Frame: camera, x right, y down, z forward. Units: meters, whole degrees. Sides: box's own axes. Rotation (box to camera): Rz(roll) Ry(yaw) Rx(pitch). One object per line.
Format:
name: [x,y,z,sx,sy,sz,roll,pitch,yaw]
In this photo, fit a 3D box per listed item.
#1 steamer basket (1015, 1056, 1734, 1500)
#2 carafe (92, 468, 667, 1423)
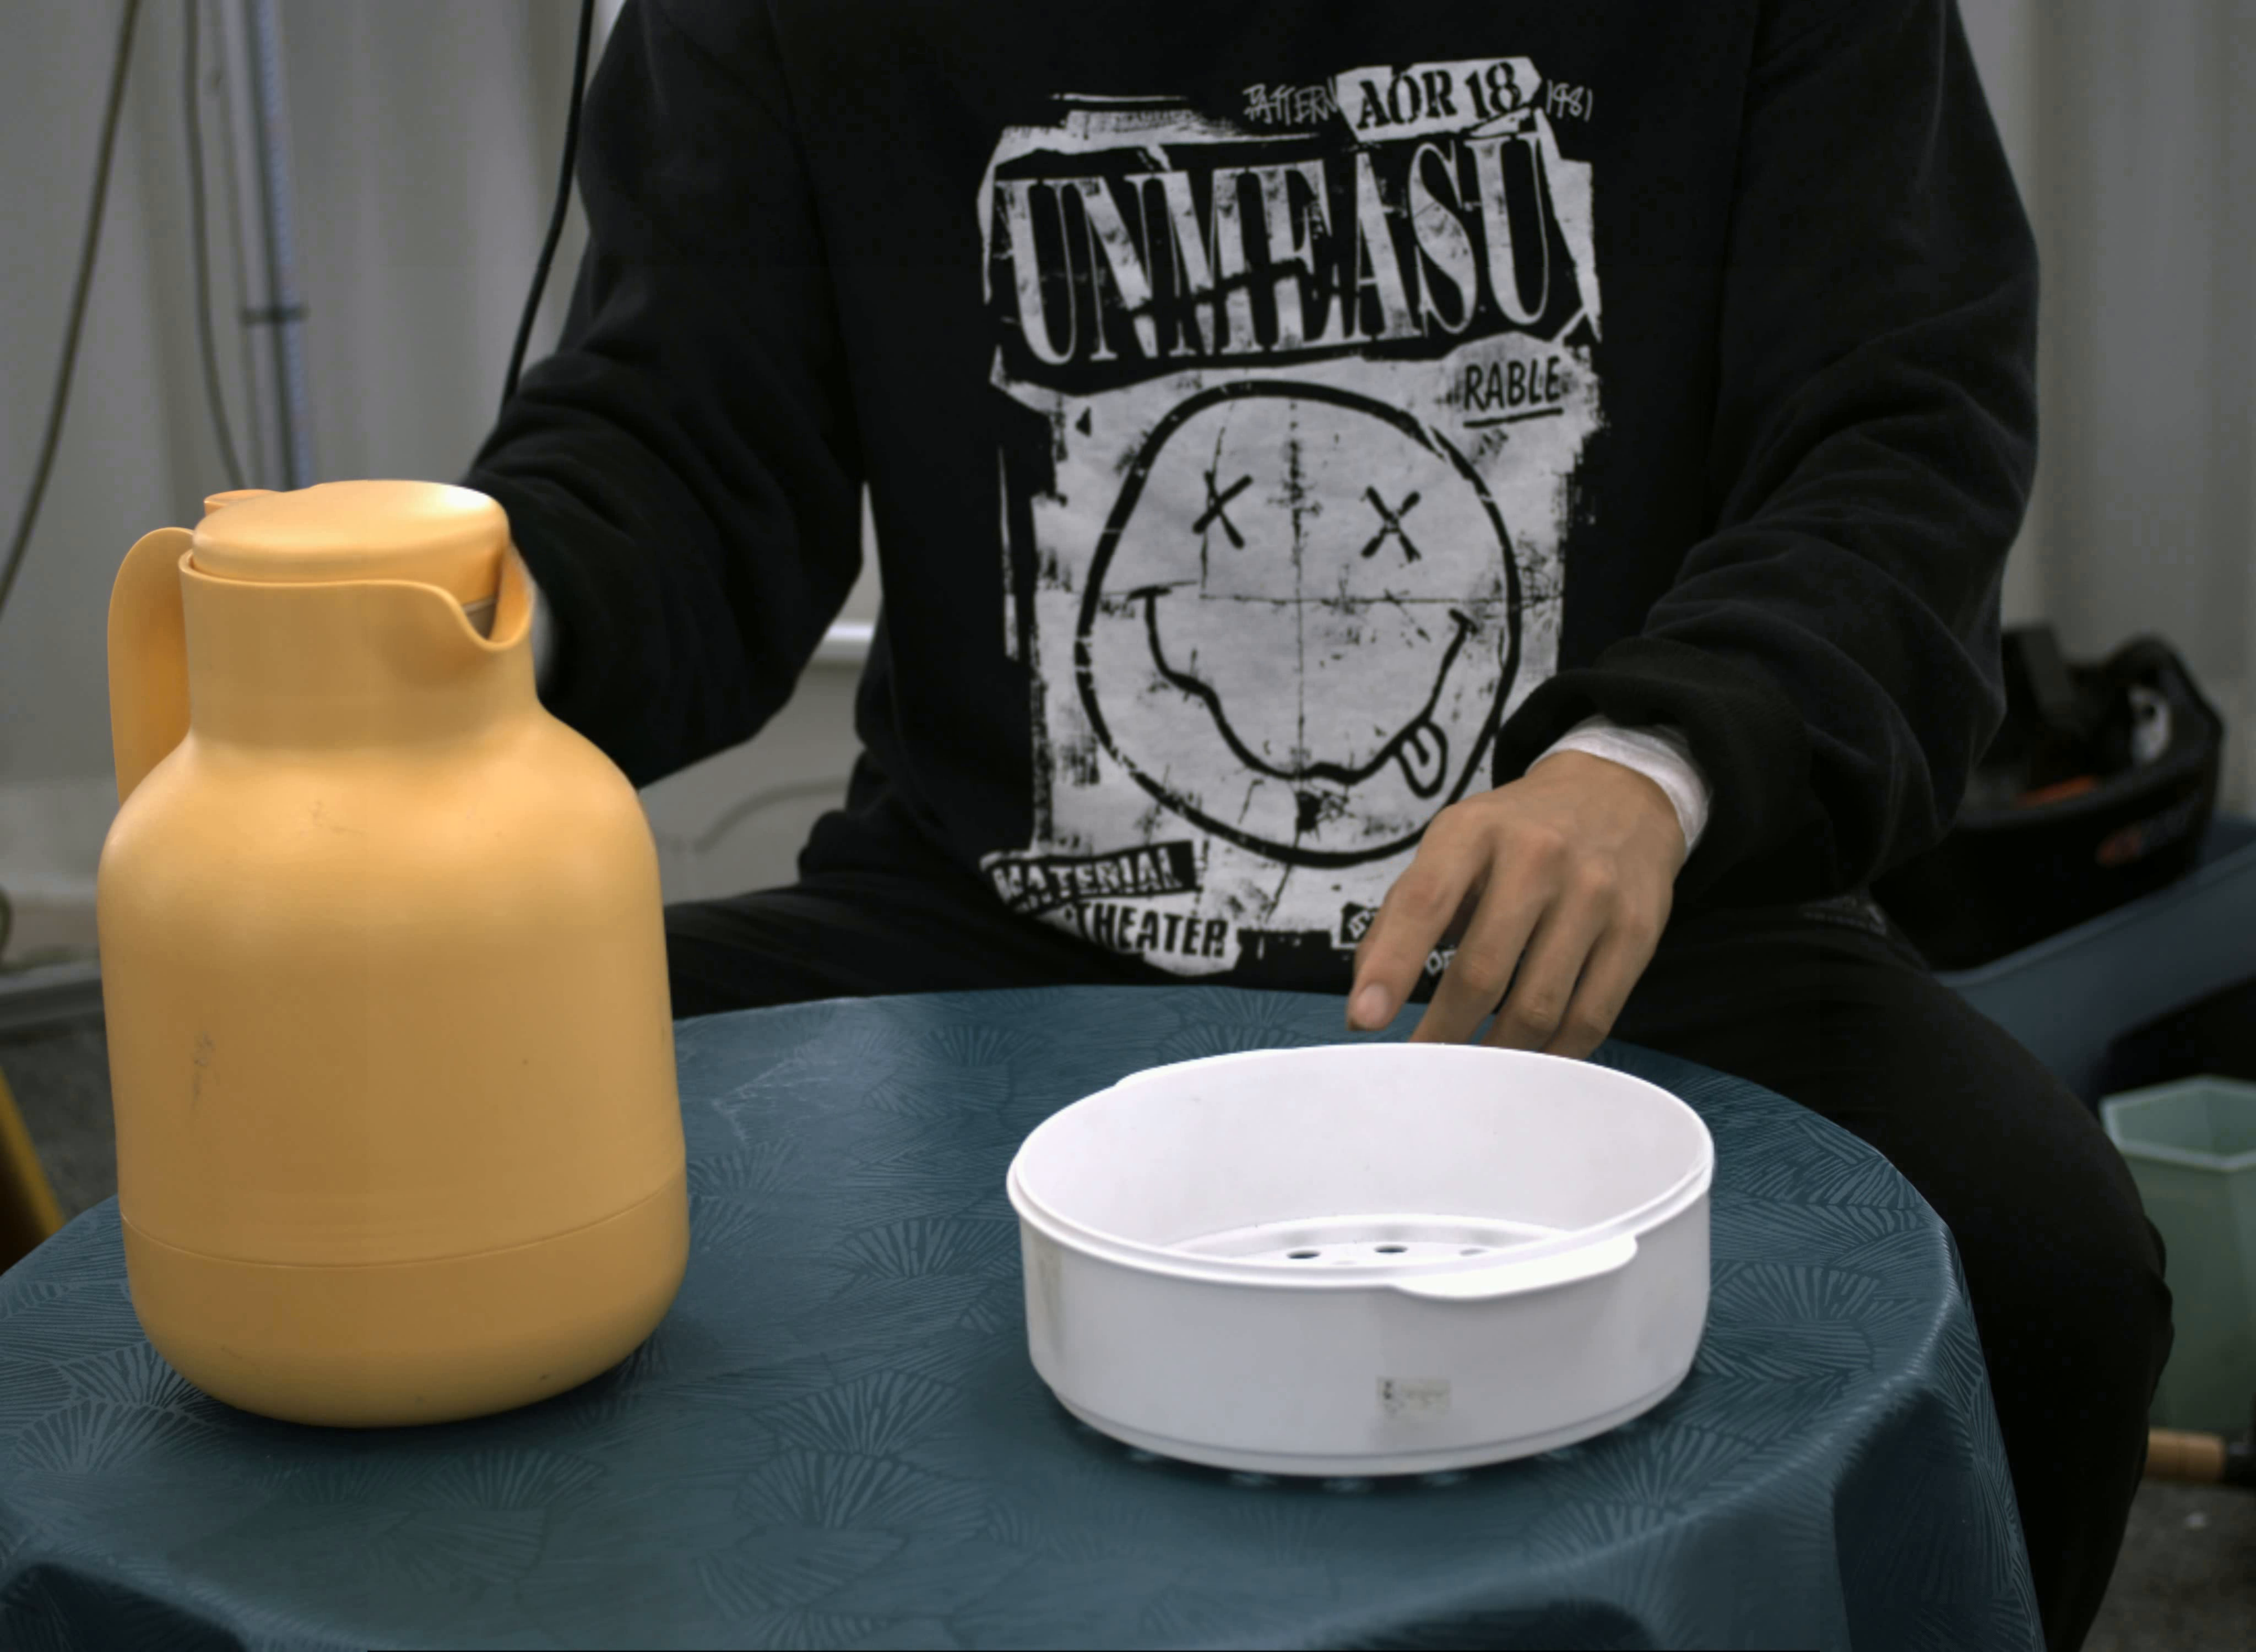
steamer basket: [0.070,0.126,1.537,0.201,0.069,0.232,-9,17,-22]
carafe: [-0.226,0.026,1.582,0.163,0.259,0.204,-9,17,-37]
